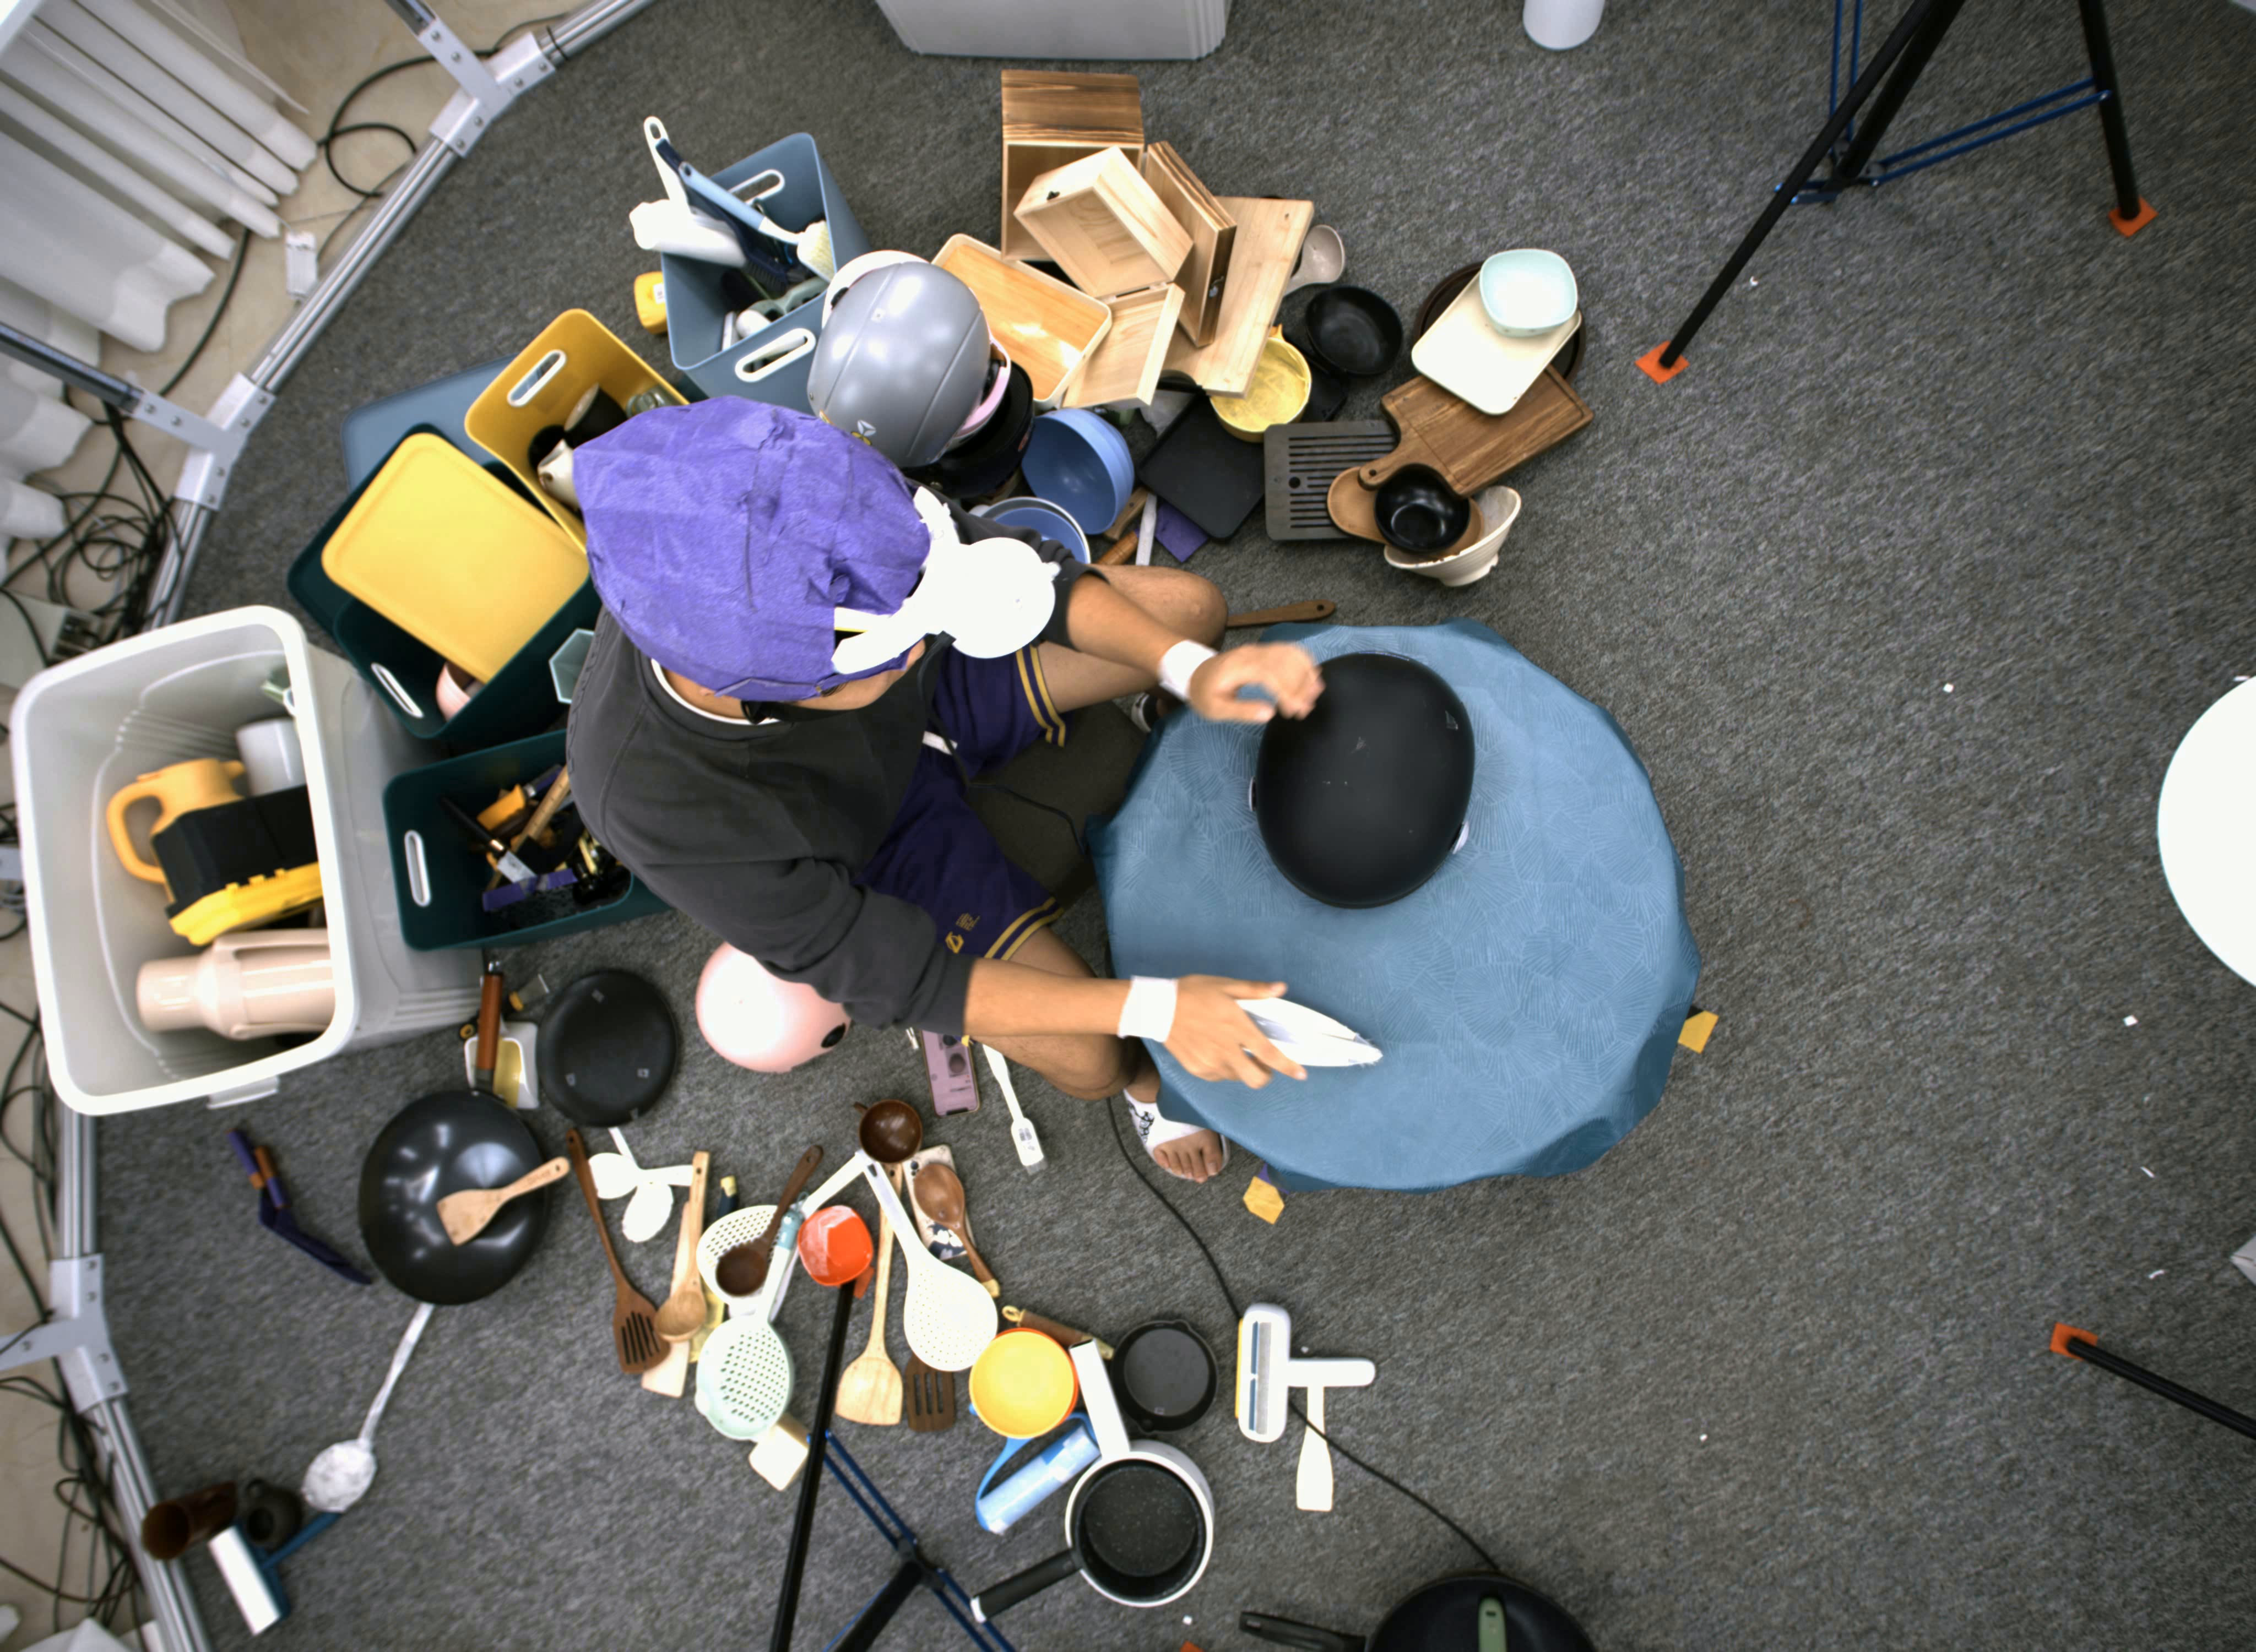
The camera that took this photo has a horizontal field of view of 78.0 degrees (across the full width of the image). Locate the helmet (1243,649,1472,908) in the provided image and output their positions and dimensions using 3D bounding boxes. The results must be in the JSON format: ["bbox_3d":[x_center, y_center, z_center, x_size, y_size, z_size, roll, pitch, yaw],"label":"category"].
[{"bbox_3d":[0.234,-0.054,1.392,0.230,0.166,0.273,14,91,11],"label":"helmet"}]

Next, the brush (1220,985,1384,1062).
[{"bbox_3d":[0.178,0.211,1.423,0.176,0.094,0.061,15,91,10],"label":"brush"}]
